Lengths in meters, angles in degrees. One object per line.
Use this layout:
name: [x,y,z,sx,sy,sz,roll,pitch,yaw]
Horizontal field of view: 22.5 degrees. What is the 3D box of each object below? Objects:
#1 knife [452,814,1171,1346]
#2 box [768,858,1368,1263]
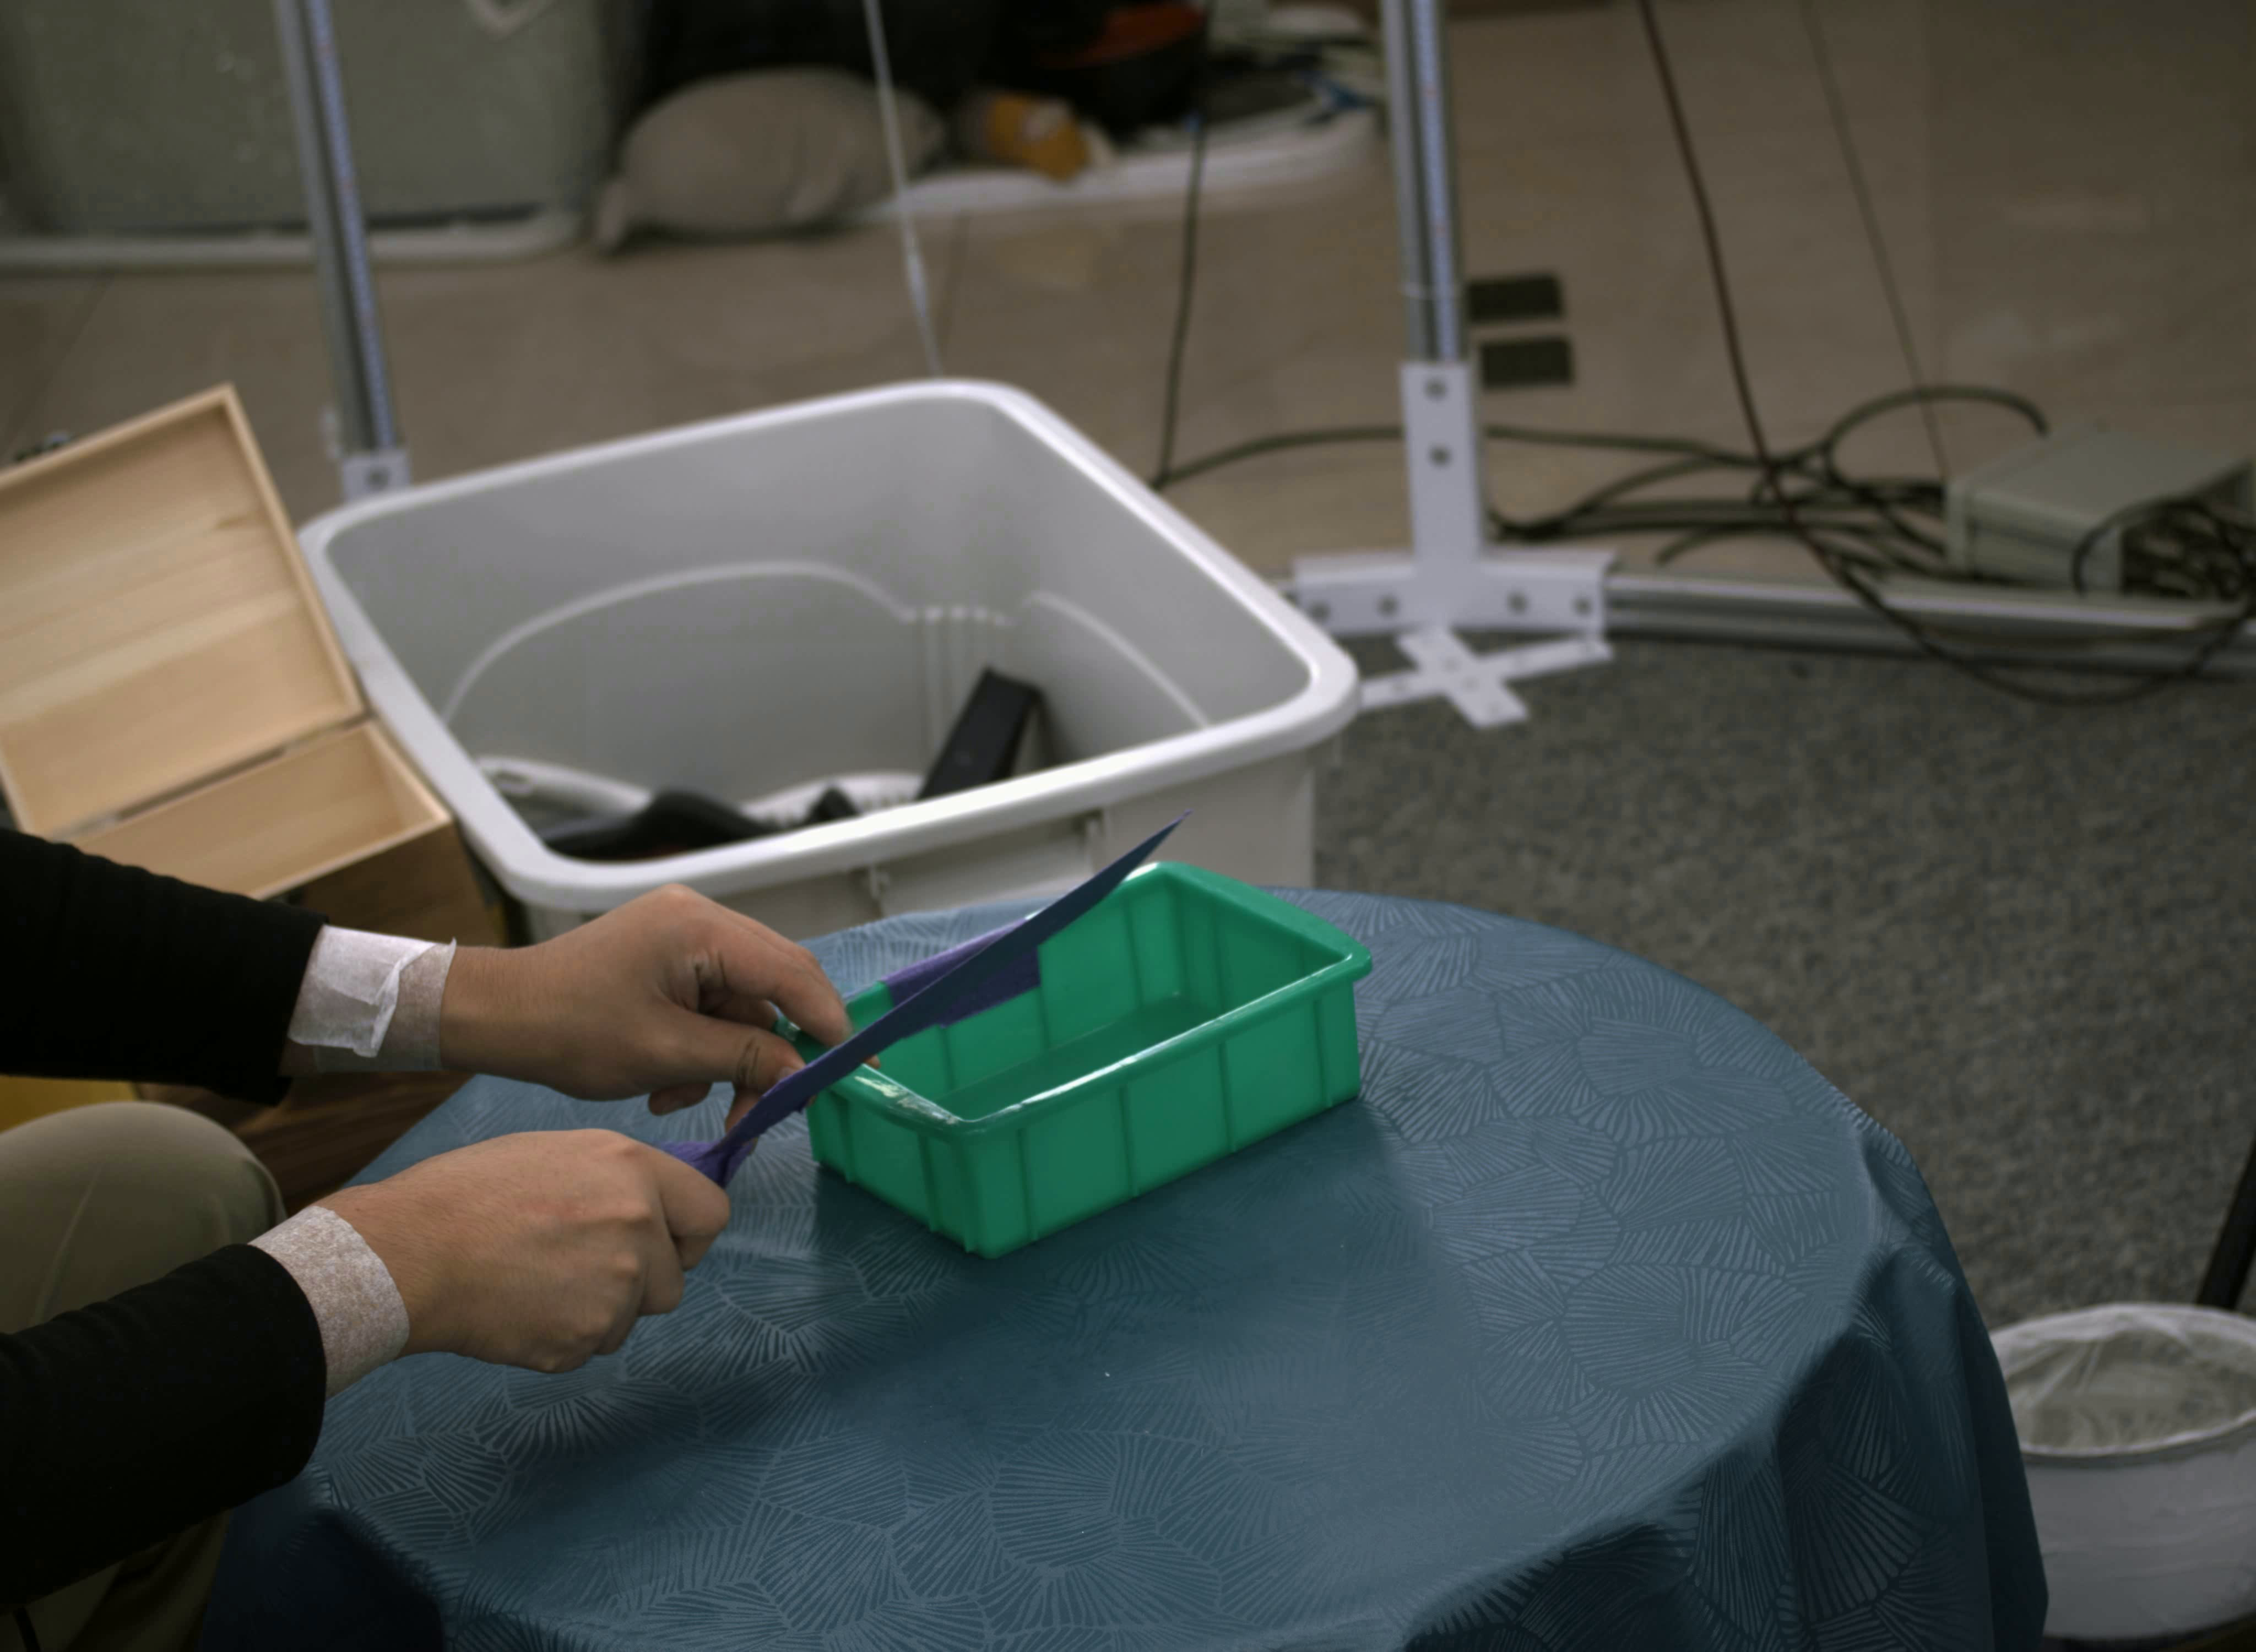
knife: [-0.110,0.082,2.044,0.312,0.032,0.105,-36,-5,-30]
box: [-0.019,0.090,2.183,0.209,0.066,0.137,-25,29,-30]
